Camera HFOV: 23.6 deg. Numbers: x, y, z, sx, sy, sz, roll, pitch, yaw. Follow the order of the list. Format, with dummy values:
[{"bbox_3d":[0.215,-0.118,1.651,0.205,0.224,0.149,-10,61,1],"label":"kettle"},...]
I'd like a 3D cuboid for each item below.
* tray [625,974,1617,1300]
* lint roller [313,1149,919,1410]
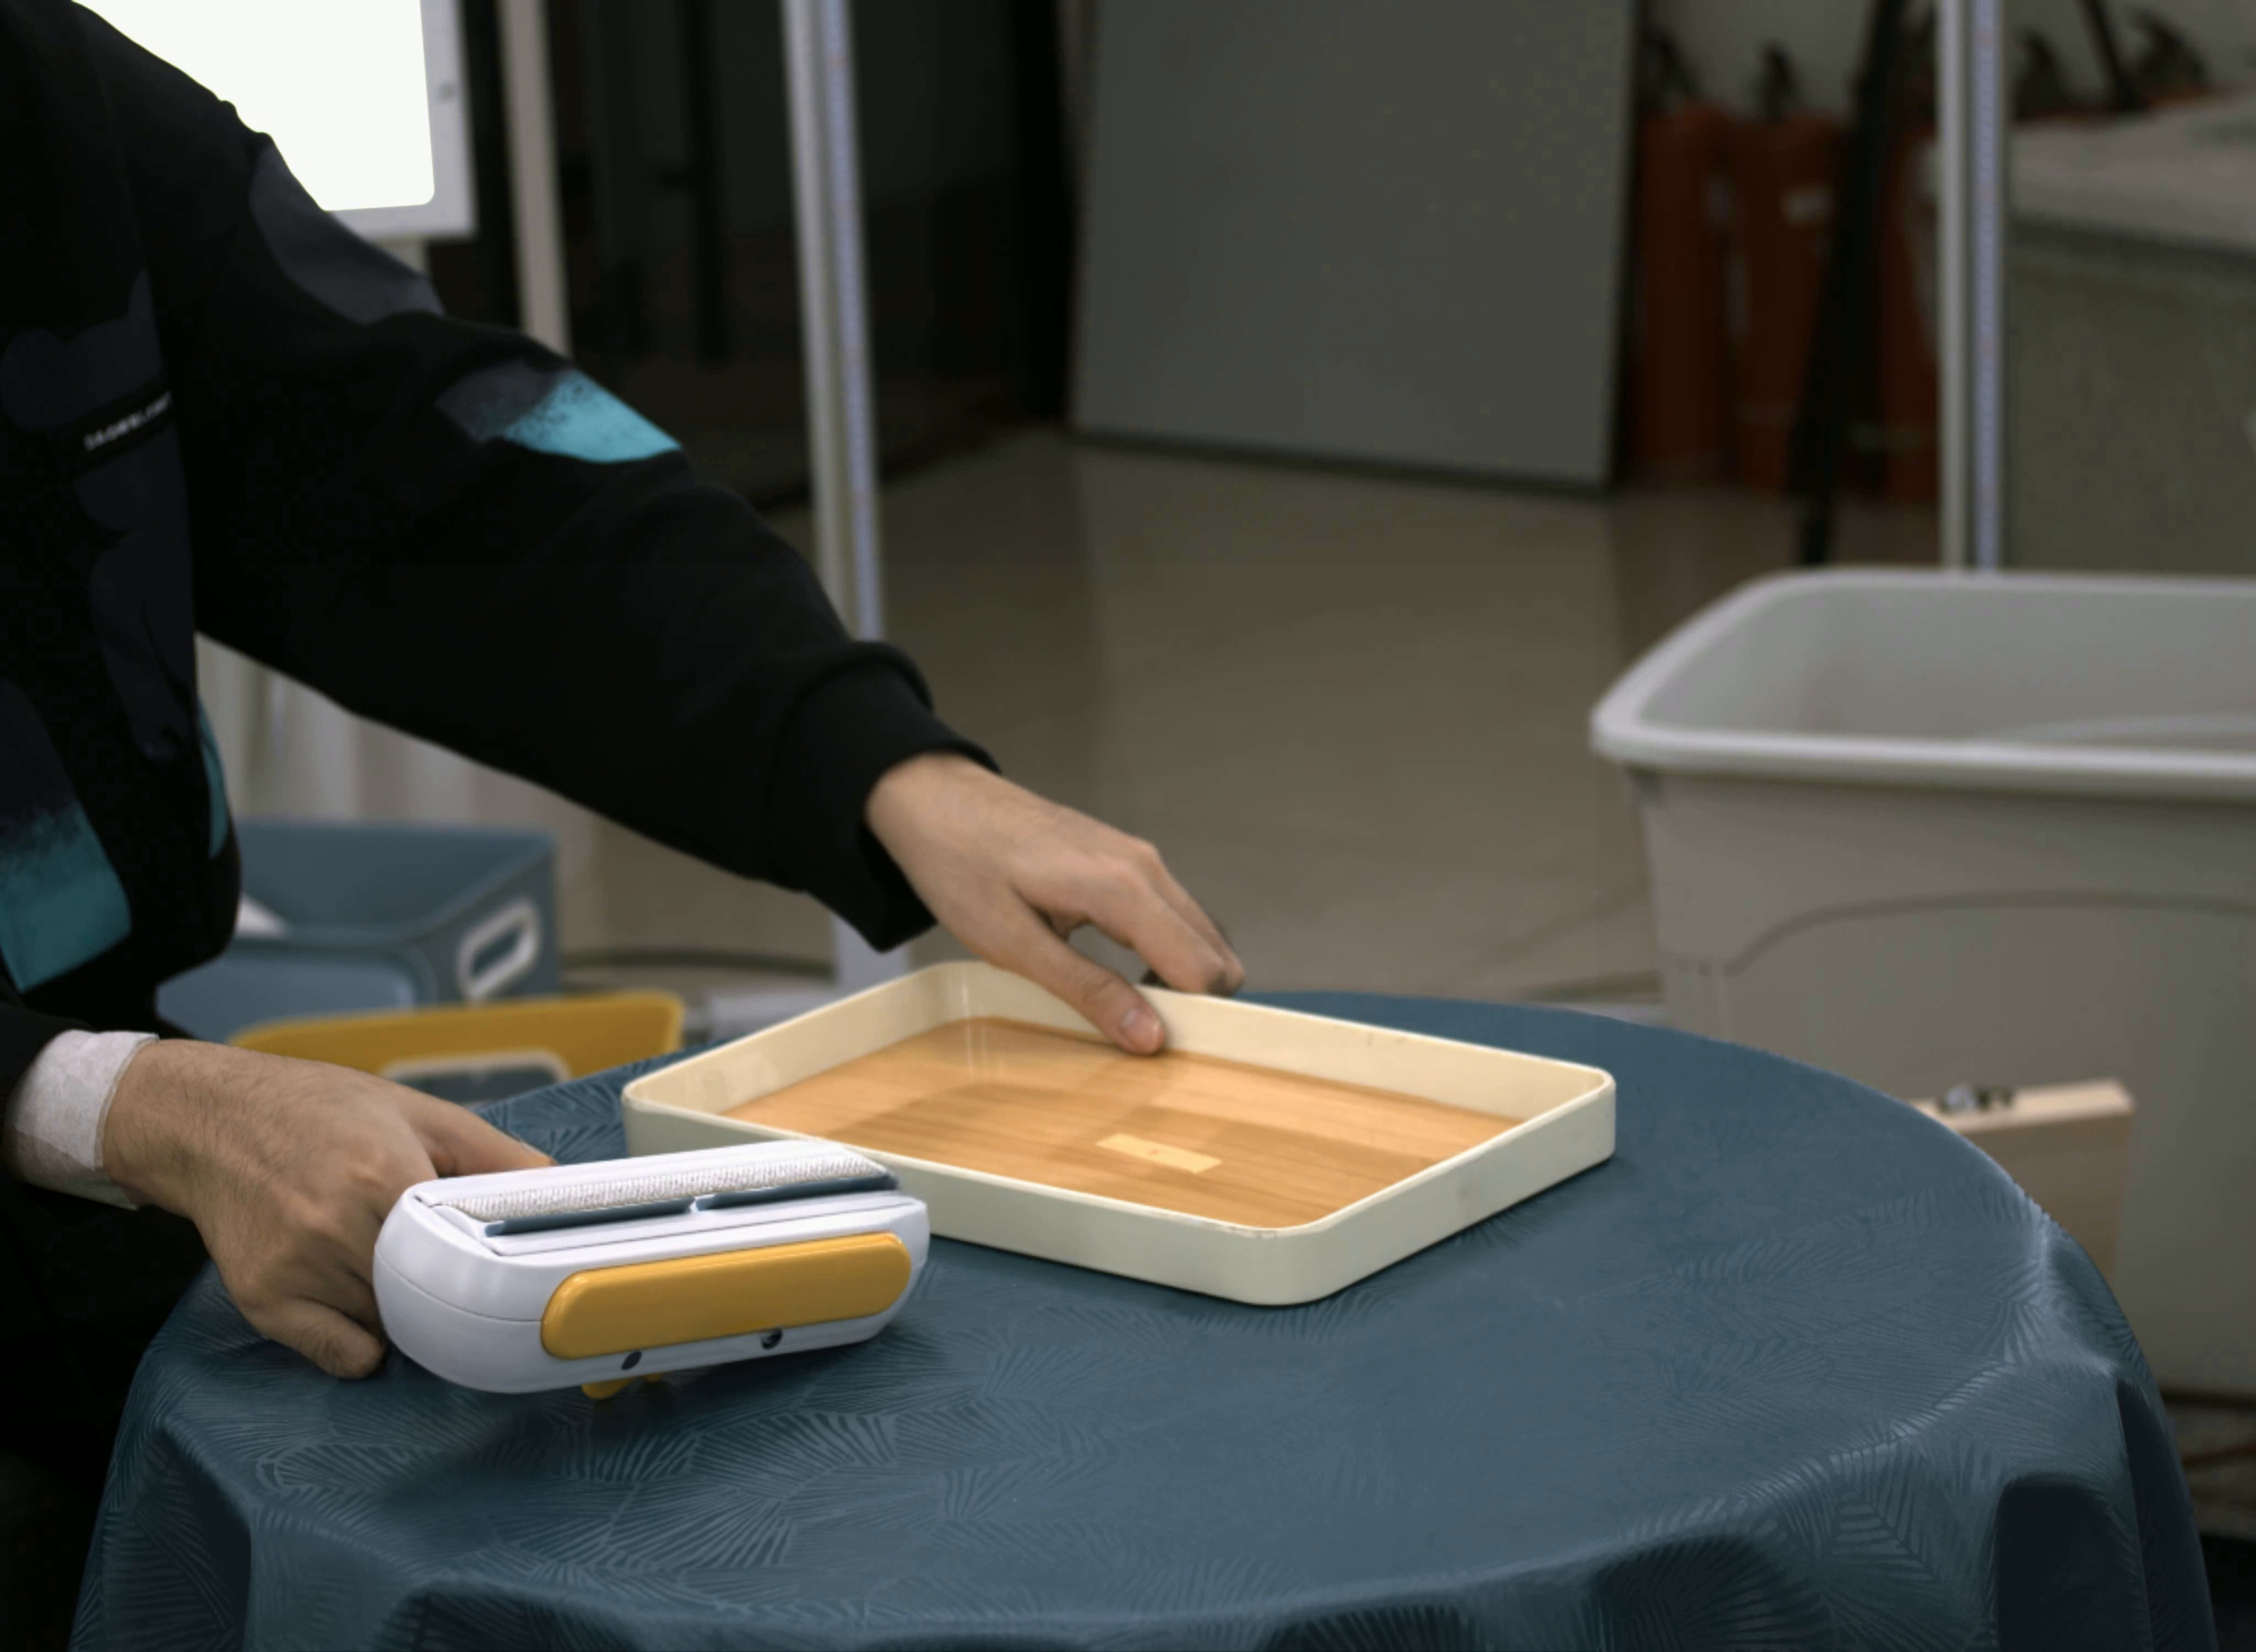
[{"bbox_3d":[-0.004,0.100,1.800,0.303,0.028,0.188,8,18,40],"label":"tray"},{"bbox_3d":[-0.184,0.125,1.646,0.188,0.075,0.194,-7,17,-41],"label":"lint roller"}]
